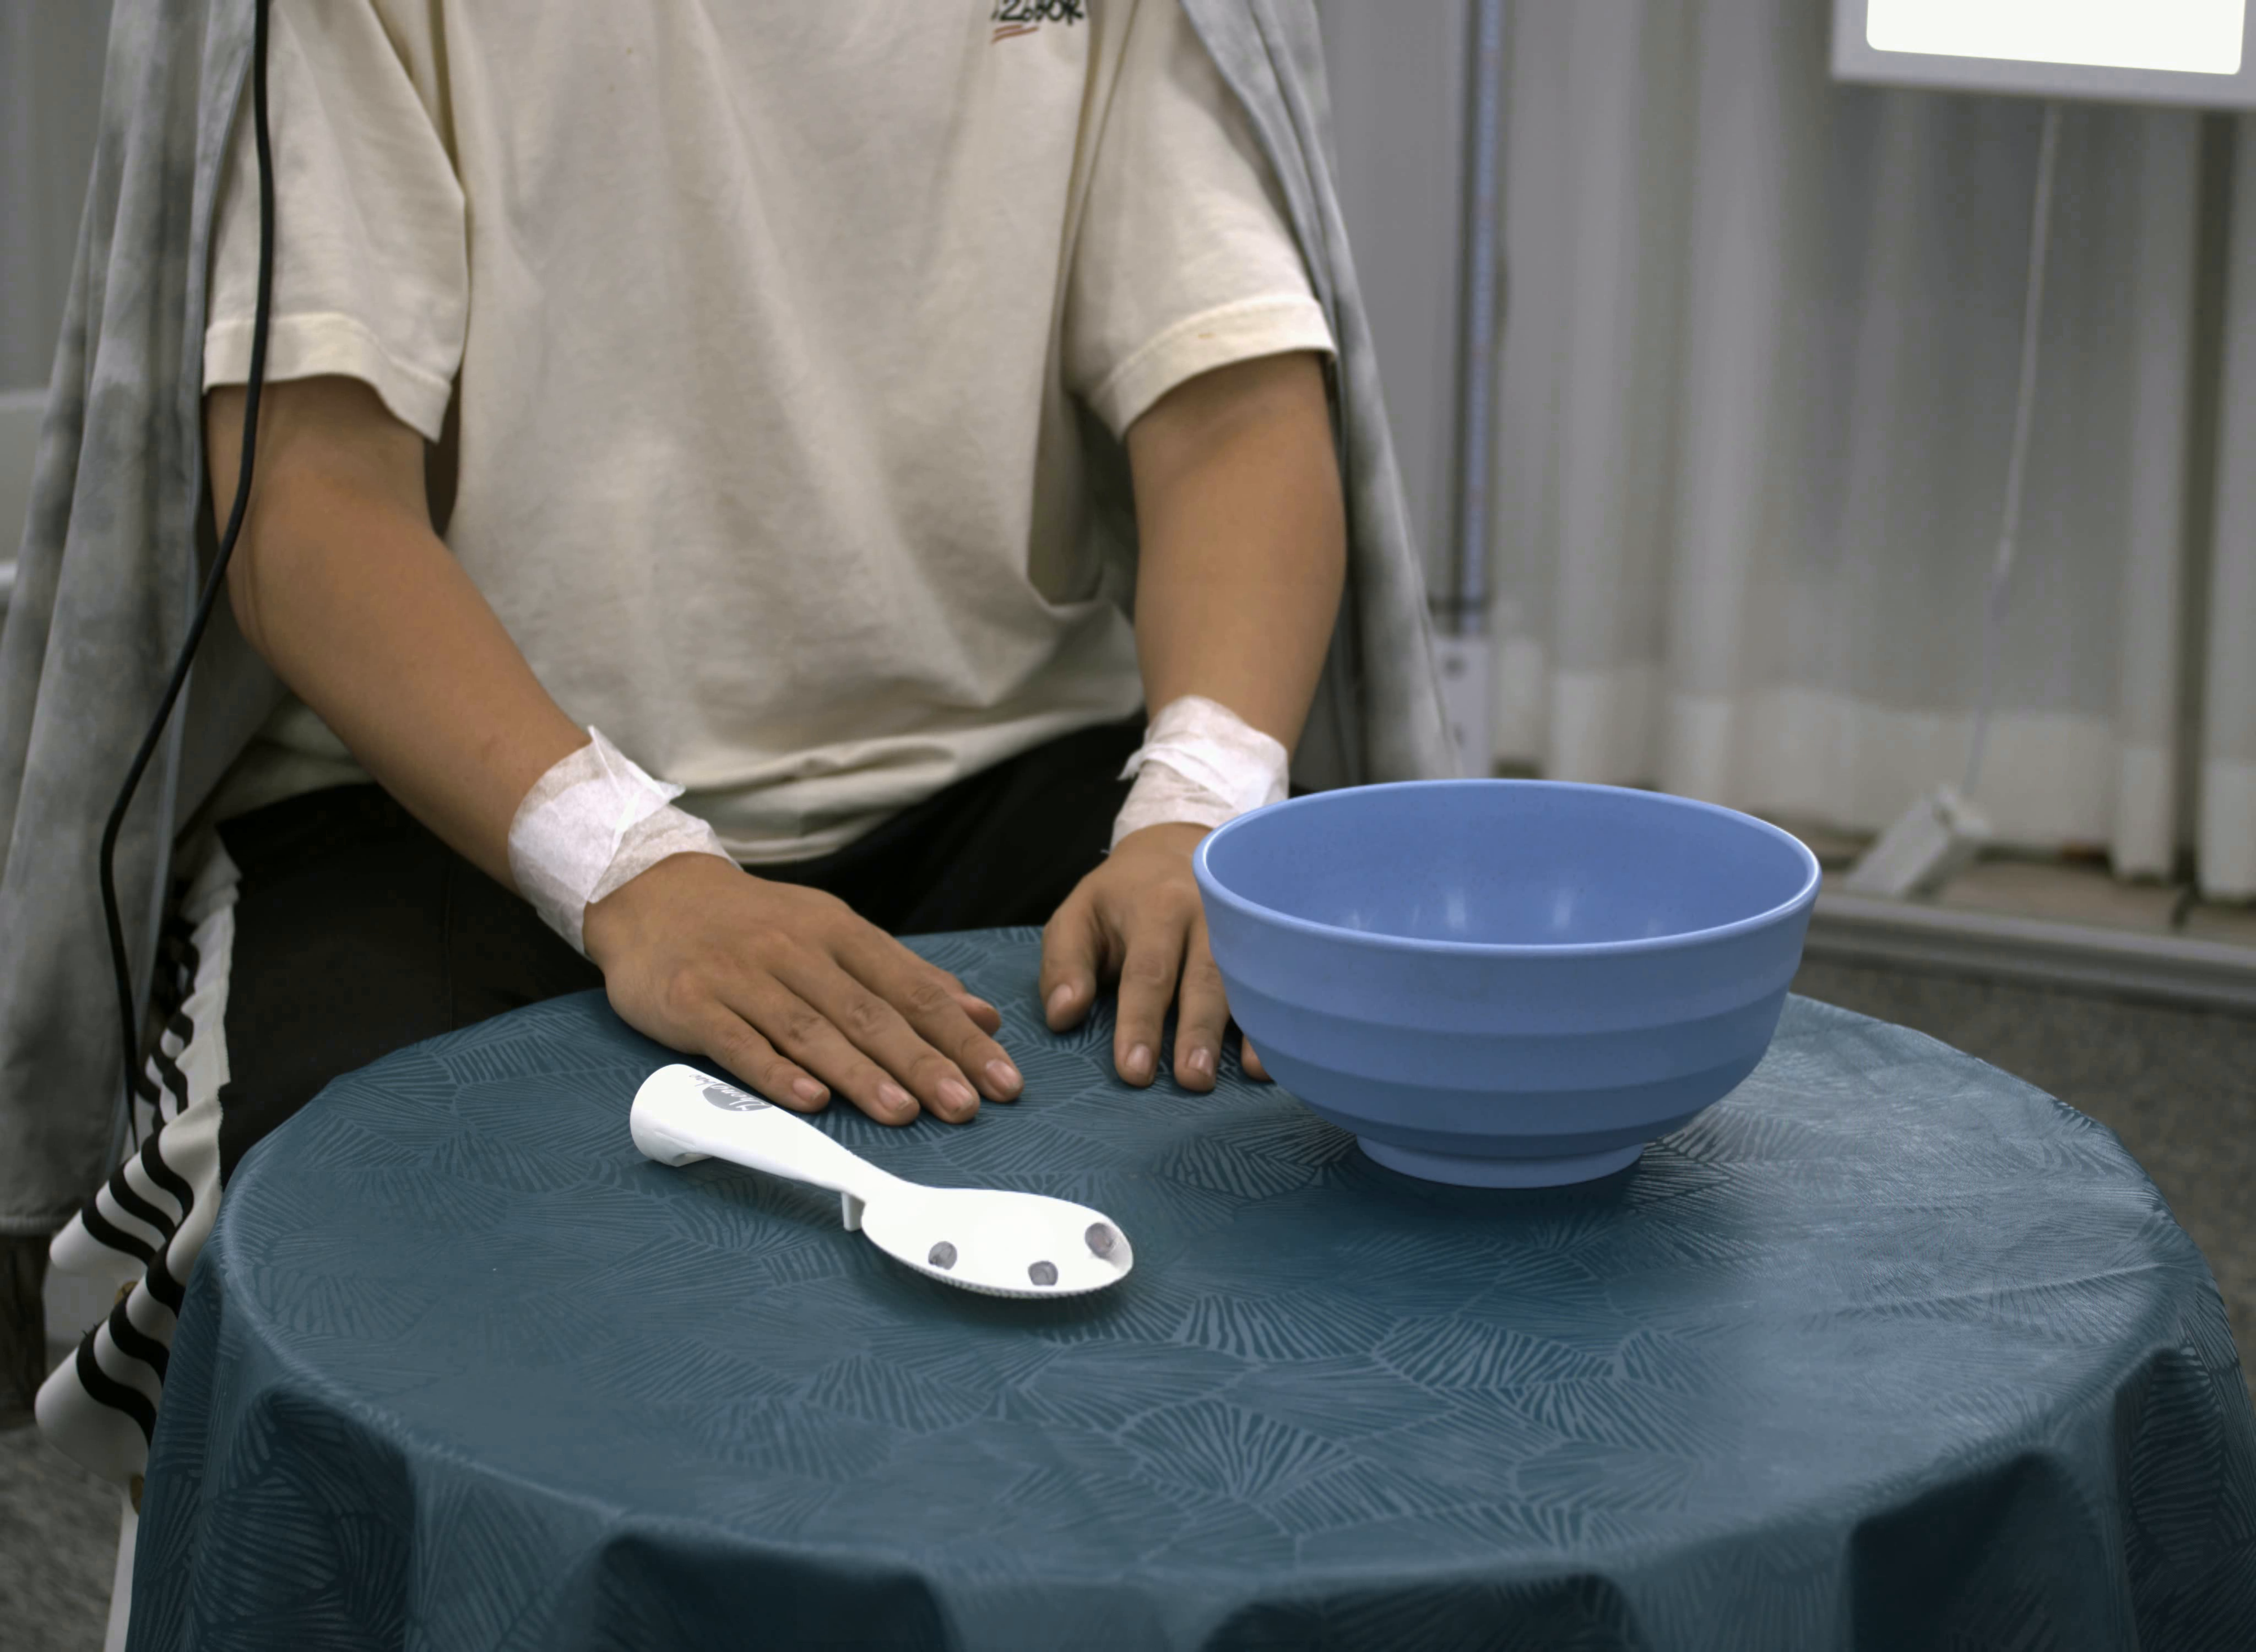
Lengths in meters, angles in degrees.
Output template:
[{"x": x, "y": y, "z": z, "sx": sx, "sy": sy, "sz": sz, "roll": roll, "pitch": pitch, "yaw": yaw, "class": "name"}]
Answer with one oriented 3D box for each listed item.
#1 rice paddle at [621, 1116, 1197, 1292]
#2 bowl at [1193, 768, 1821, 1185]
[{"x": -0.066, "y": 0.115, "z": 1.575, "sx": 0.203, "sy": 0.029, "sz": 0.069, "roll": 8, "pitch": 4, "yaw": 36, "class": "rice paddle"}, {"x": 0.118, "y": 0.053, "z": 1.661, "sx": 0.196, "sy": 0.096, "sz": 0.195, "roll": 0, "pitch": 18, "yaw": 0, "class": "bowl"}]
